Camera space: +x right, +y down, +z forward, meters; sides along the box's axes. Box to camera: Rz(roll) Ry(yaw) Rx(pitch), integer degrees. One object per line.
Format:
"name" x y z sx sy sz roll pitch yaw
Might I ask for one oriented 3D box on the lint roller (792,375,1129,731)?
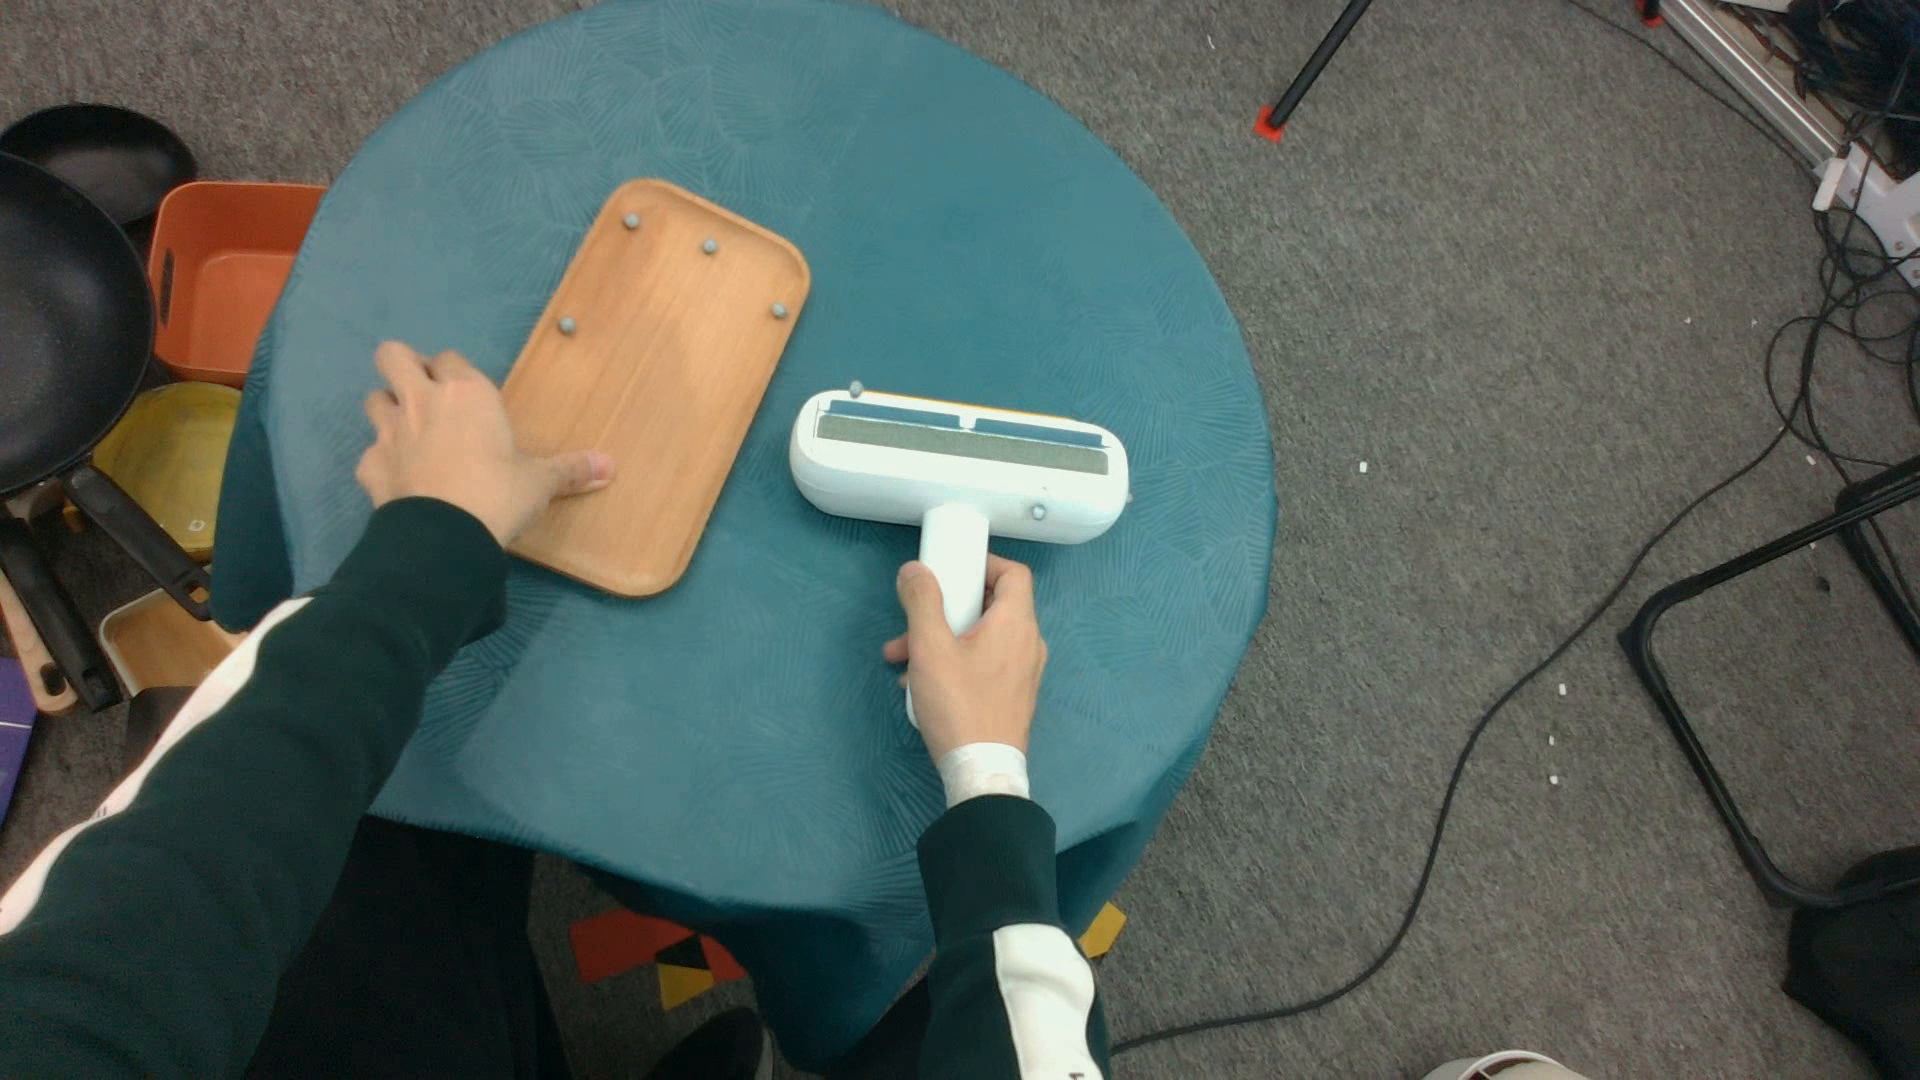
"lint roller" -0.011 0.010 0.776 0.193 0.074 0.193 13 71 -5

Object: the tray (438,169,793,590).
"tray" -0.186 -0.095 0.775 0.130 0.023 0.252 22 63 -9
